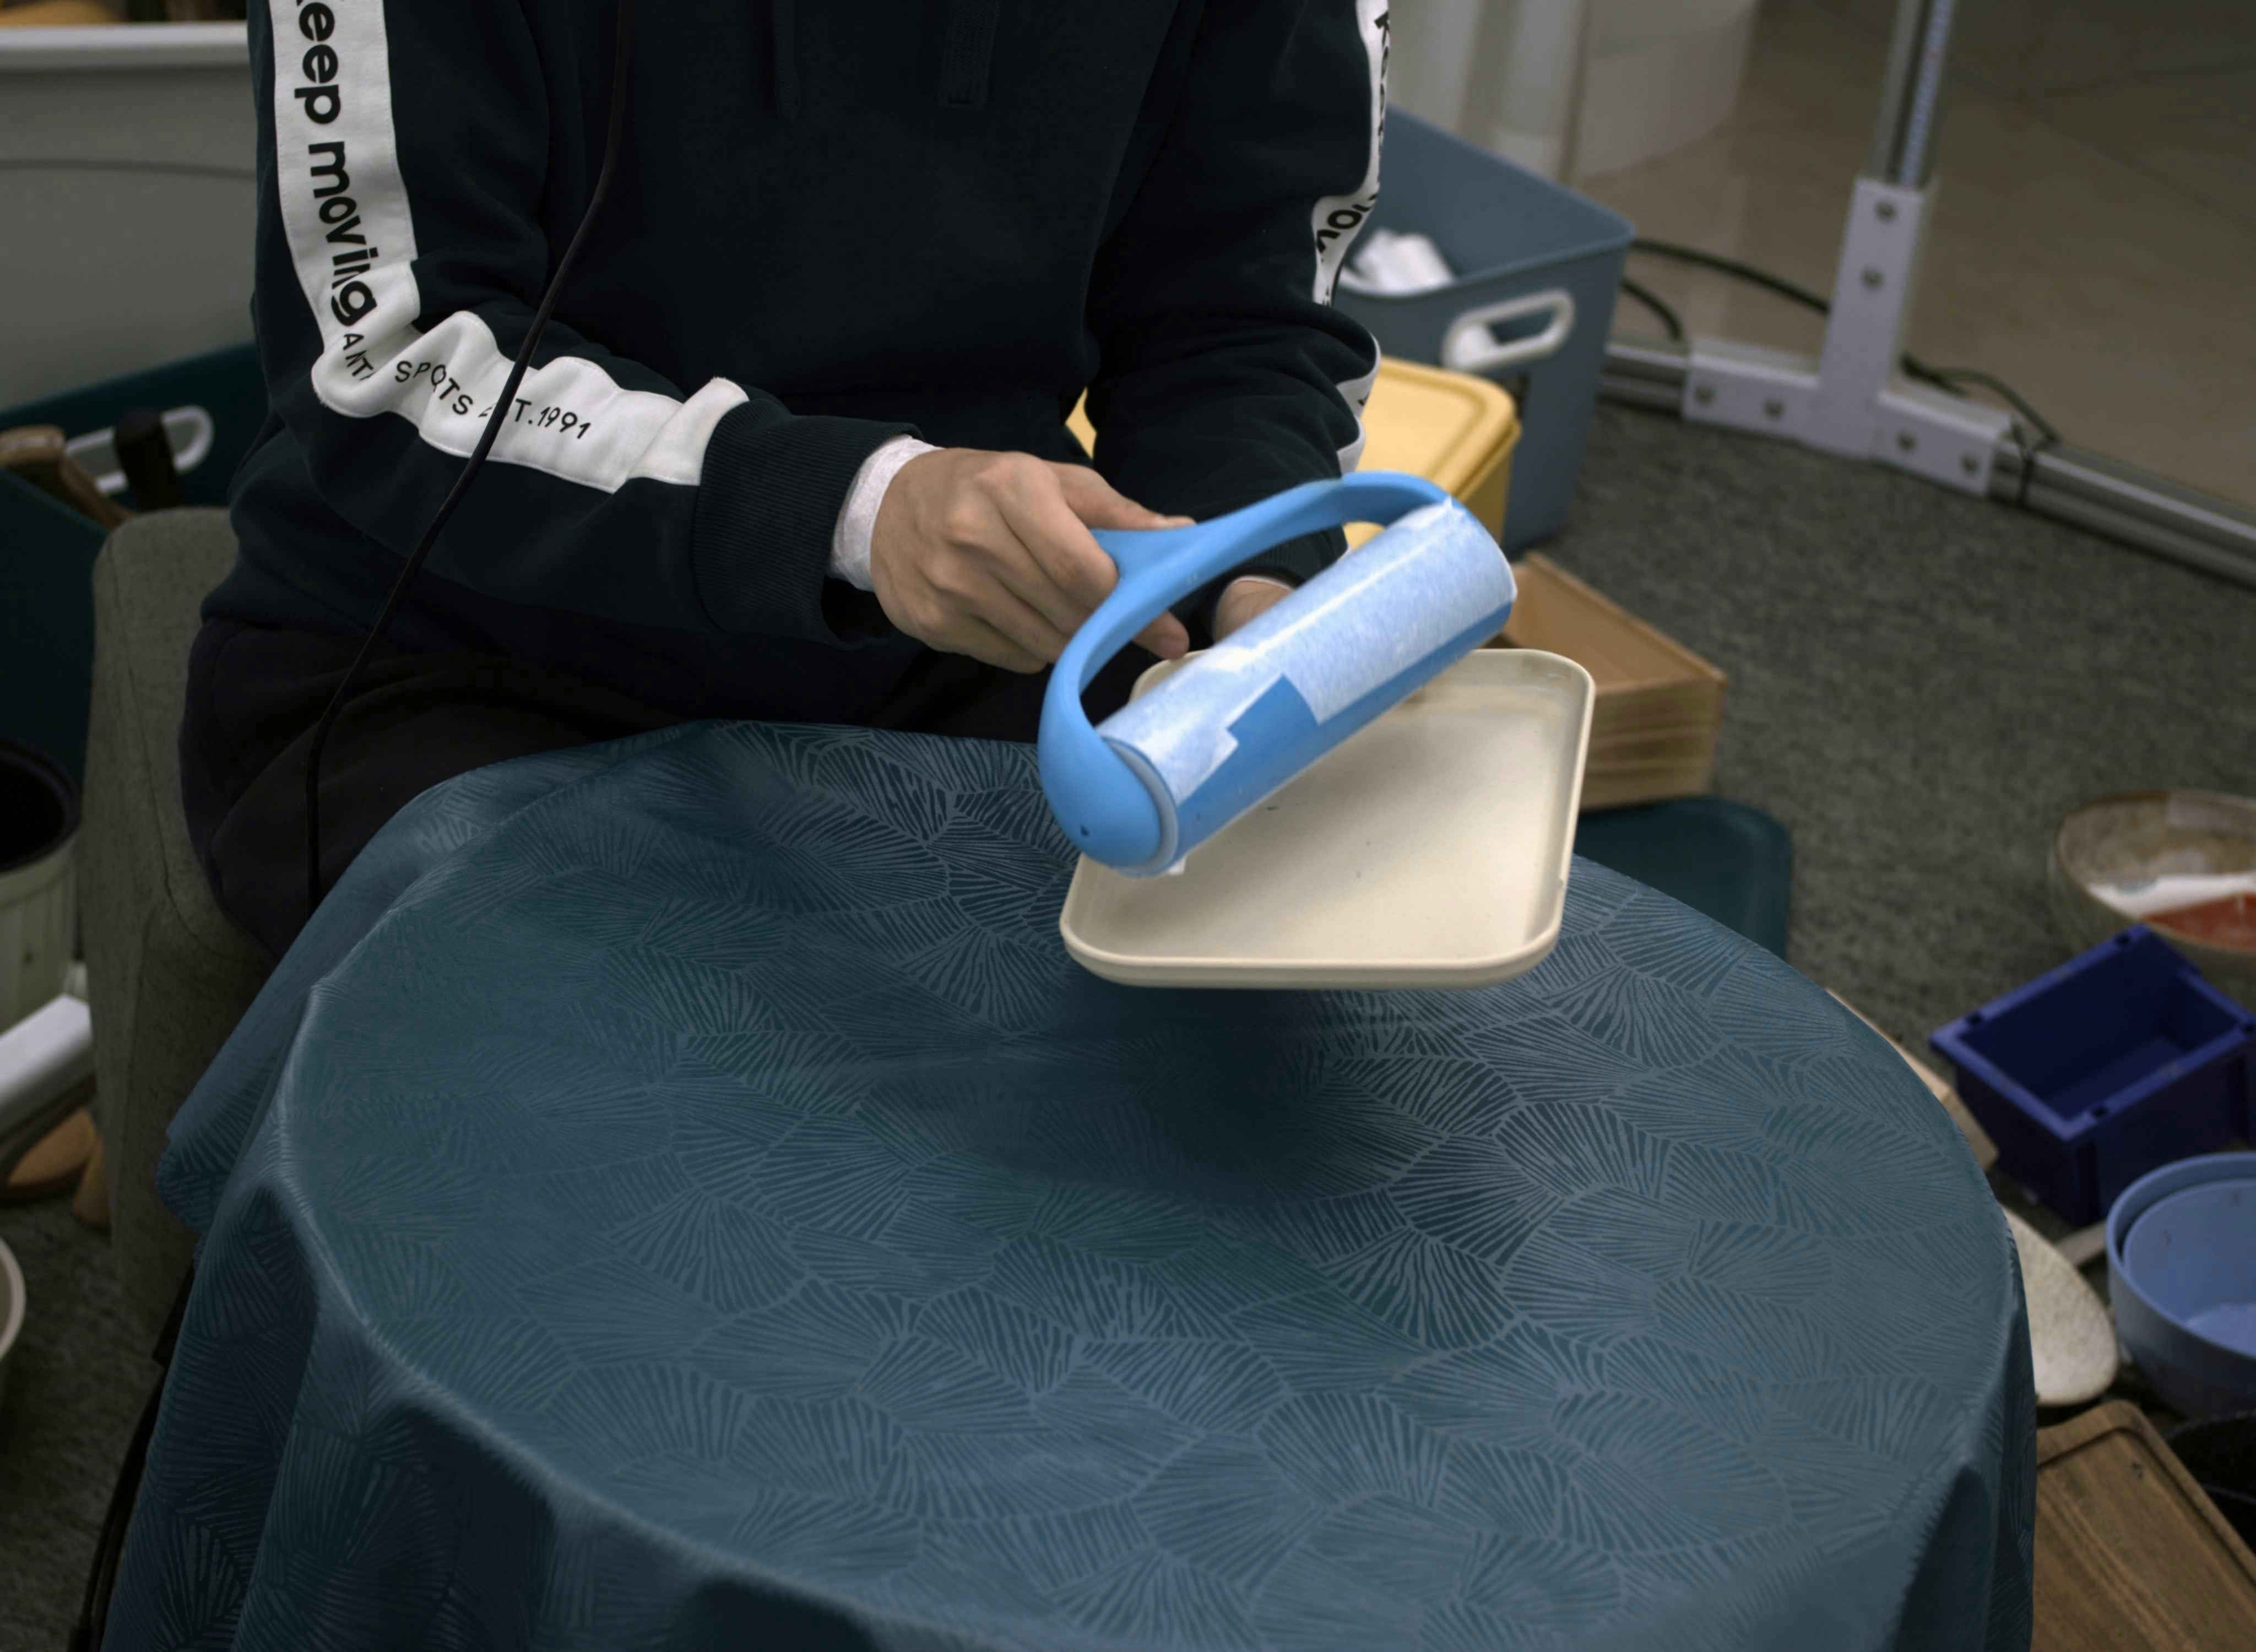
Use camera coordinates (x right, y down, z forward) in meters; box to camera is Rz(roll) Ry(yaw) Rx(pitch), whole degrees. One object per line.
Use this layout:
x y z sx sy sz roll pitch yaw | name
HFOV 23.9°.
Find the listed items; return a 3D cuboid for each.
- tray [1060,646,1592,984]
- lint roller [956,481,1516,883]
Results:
0.073 -0.005 1.859 0.171 0.017 0.240 -1 27 10 | tray
0.011 -0.067 1.871 0.181 0.067 0.228 23 41 29 | lint roller
